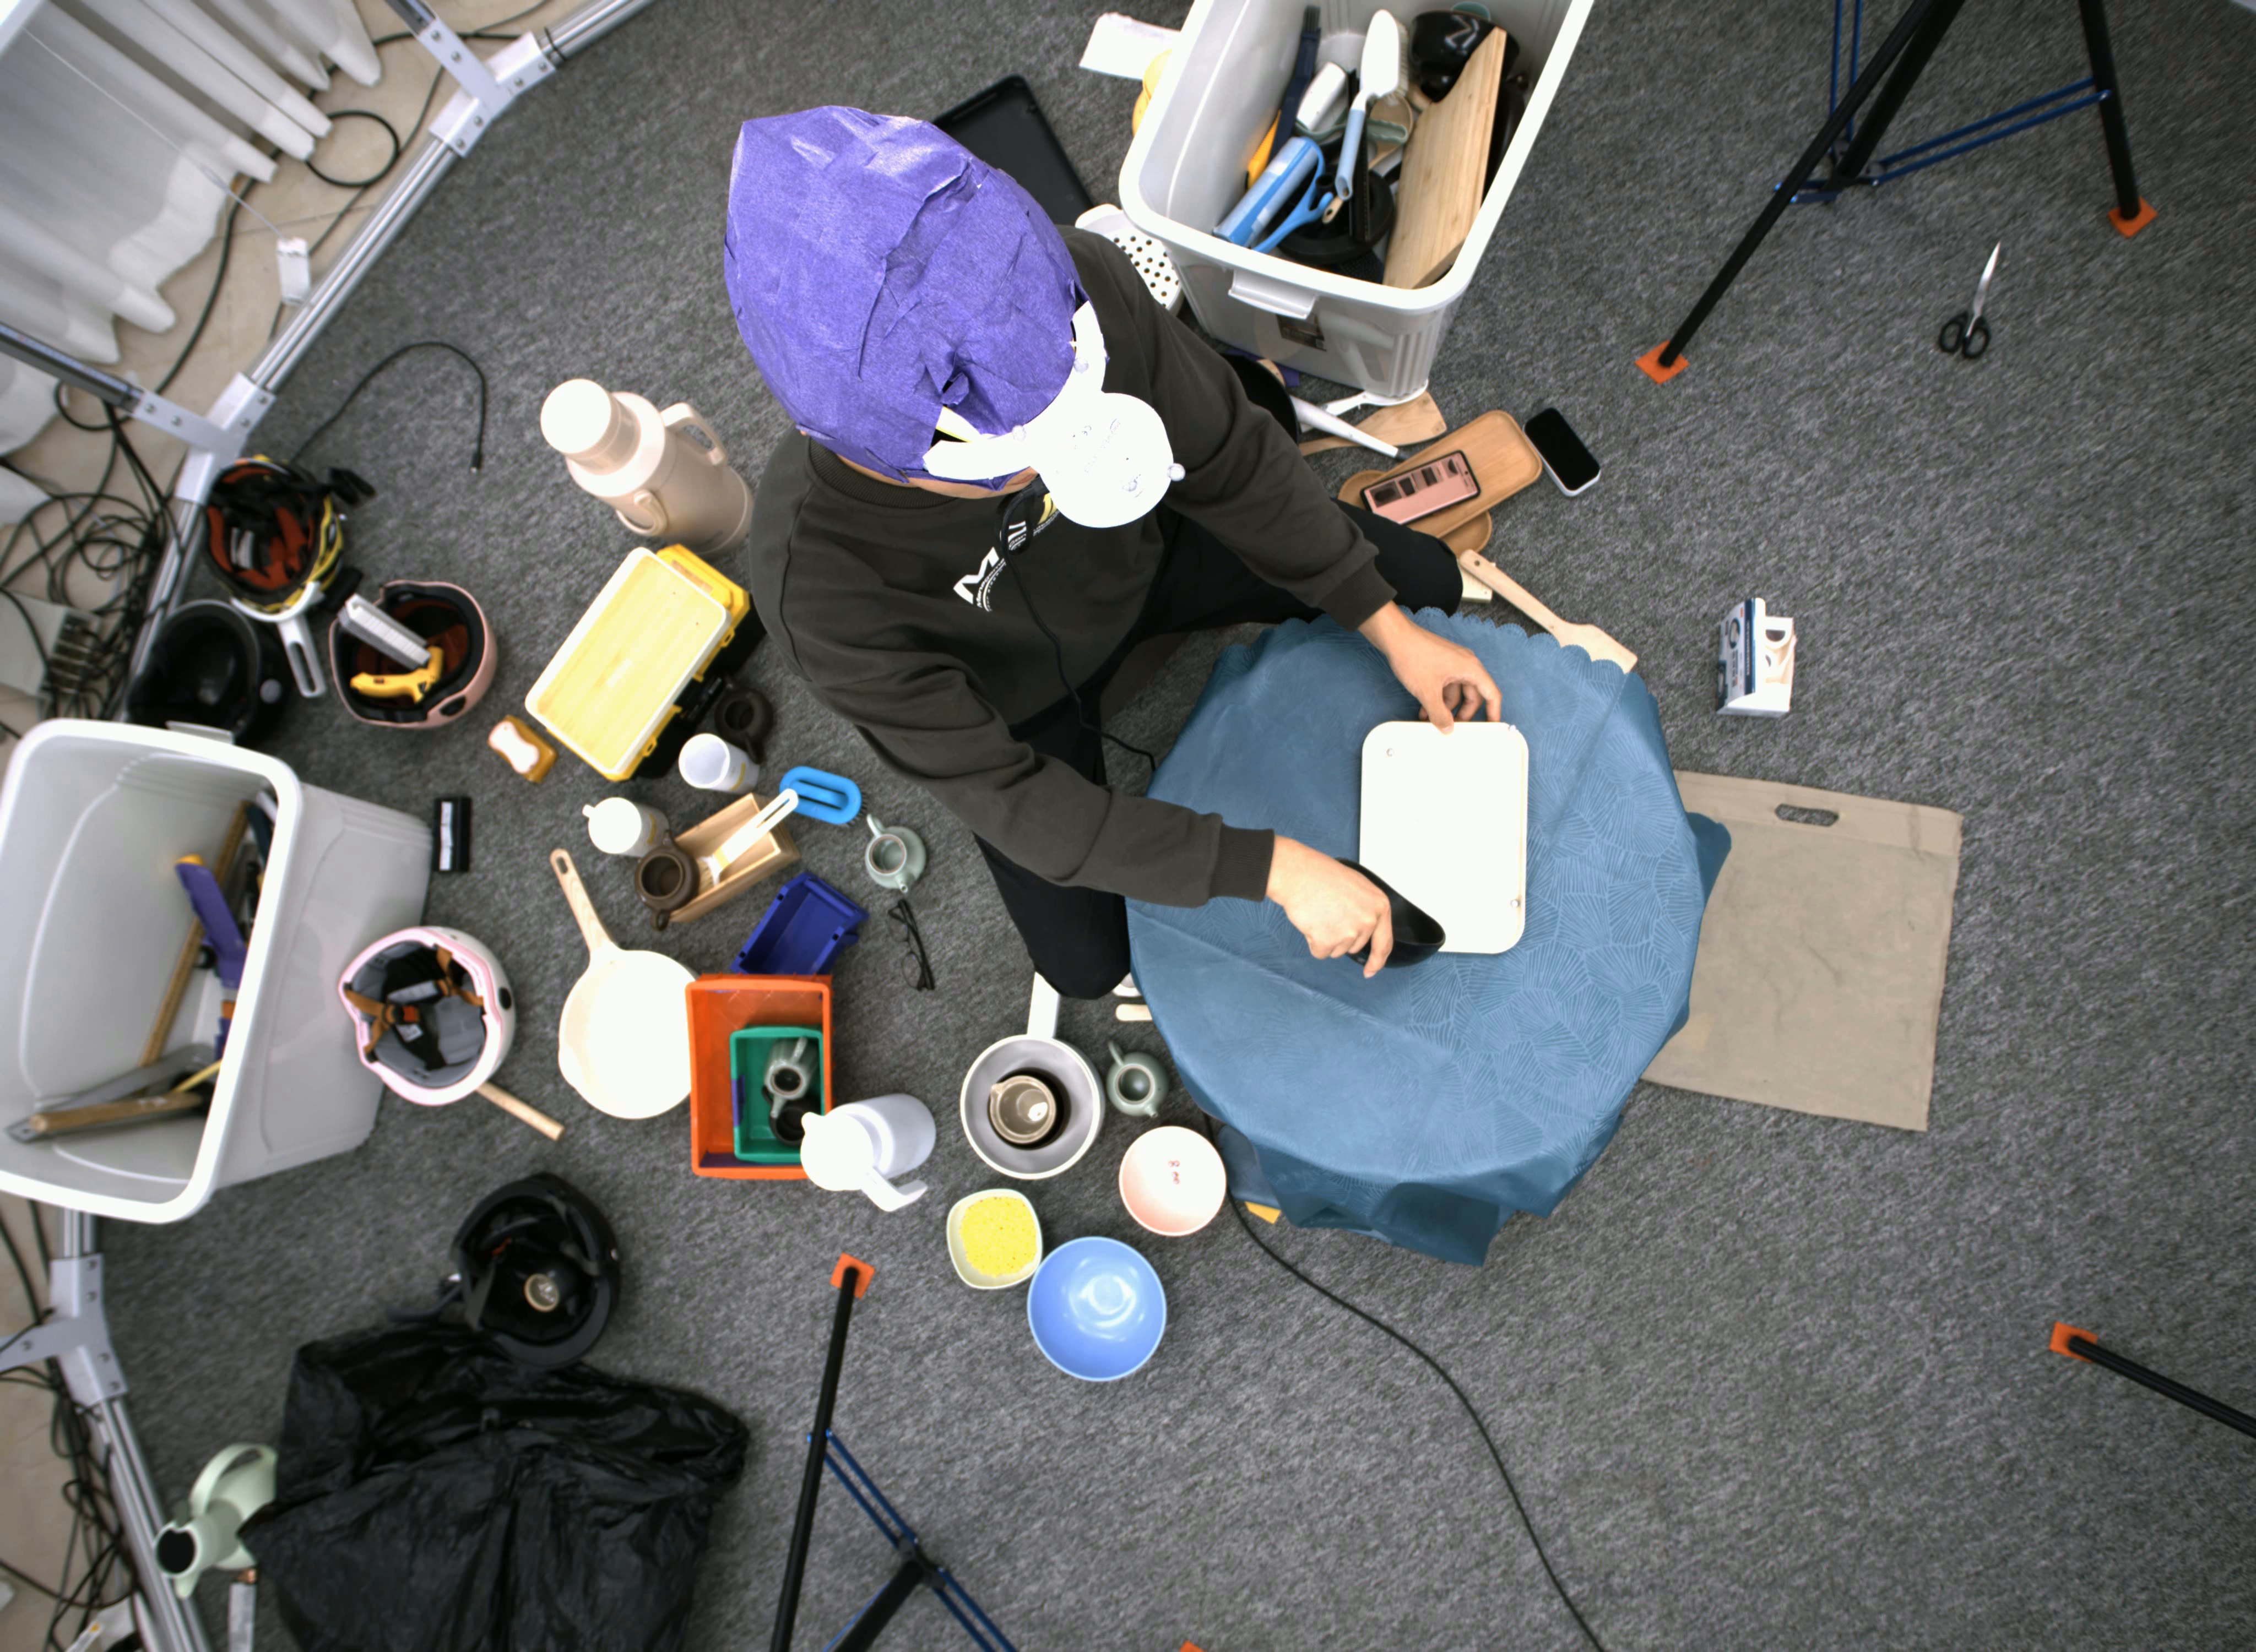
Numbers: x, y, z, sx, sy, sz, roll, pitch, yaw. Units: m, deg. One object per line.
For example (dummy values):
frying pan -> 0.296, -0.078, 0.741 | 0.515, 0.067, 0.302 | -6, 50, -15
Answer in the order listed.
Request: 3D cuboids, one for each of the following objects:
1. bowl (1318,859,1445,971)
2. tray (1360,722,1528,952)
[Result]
bowl -> 0.242, 0.097, 1.382 | 0.136, 0.168, 0.068 | 39, 111, 15
tray -> 0.329, 0.009, 1.437 | 0.172, 0.017, 0.239 | 1, 90, 13
